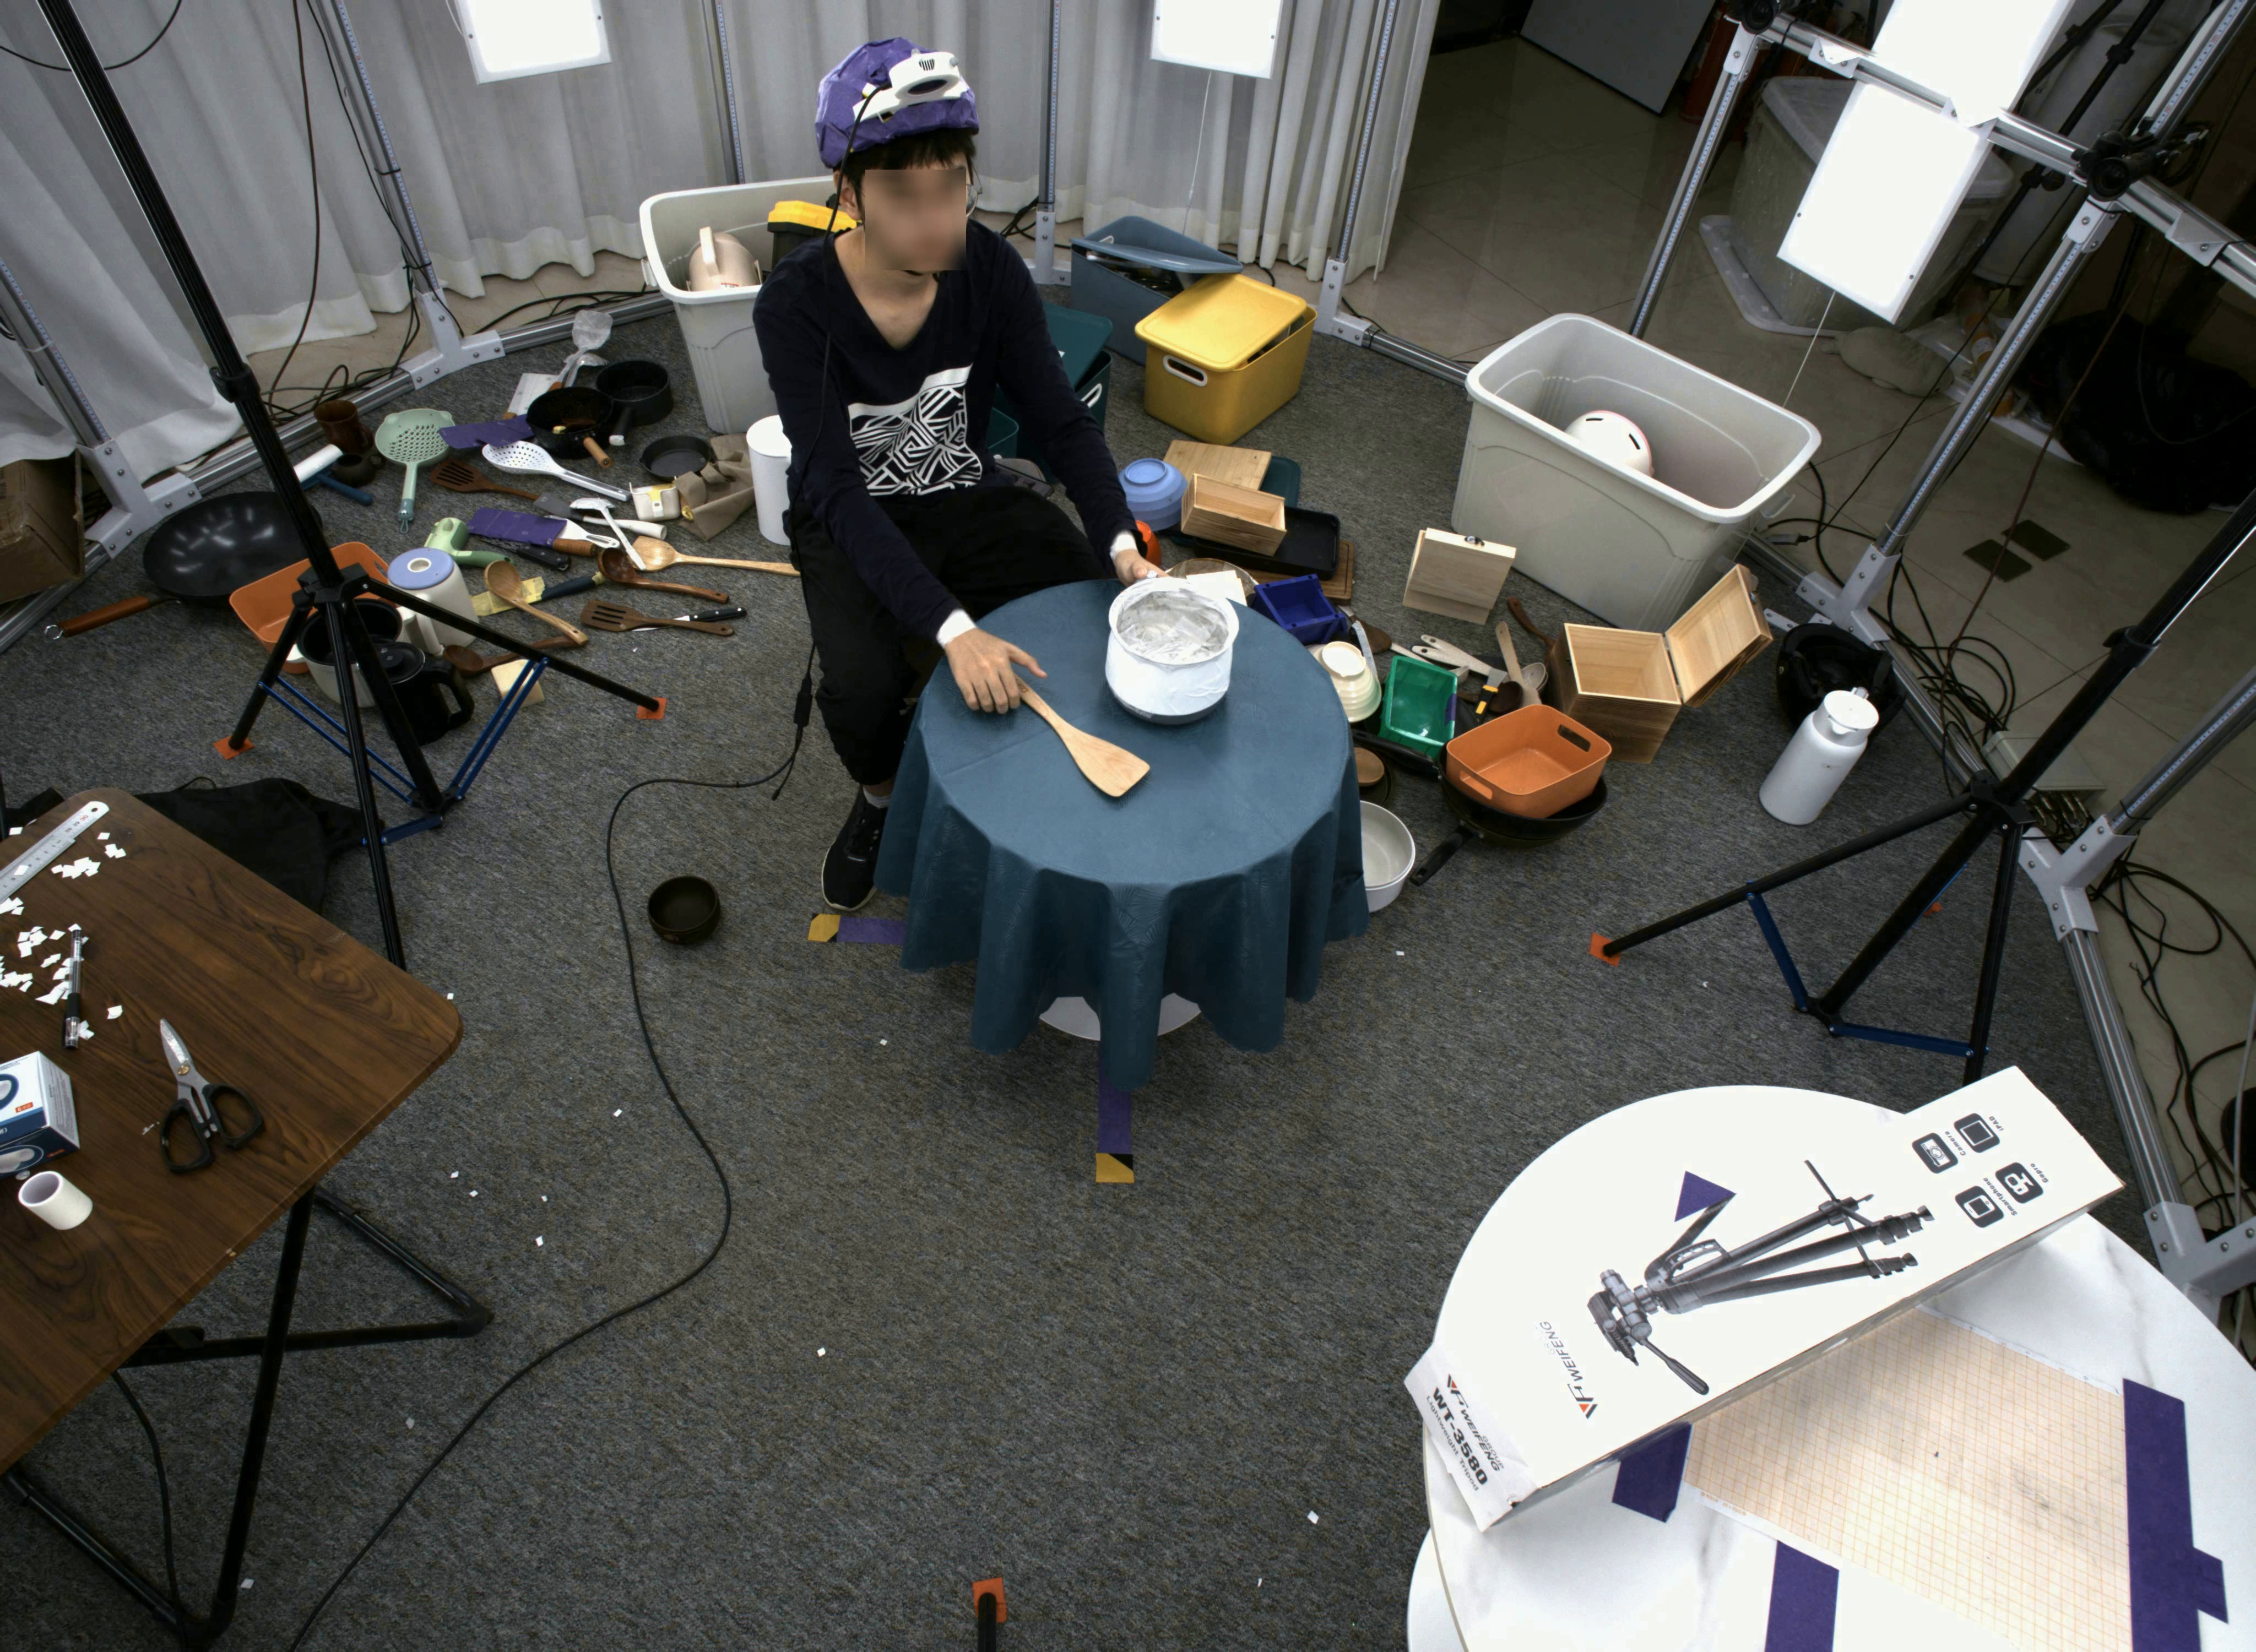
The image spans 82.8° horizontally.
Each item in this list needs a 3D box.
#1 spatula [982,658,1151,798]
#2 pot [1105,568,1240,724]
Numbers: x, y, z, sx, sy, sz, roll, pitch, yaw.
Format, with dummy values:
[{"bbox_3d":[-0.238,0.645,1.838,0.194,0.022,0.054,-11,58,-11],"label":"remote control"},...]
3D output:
[{"bbox_3d":[-0.095,-0.146,1.777,0.080,0.016,0.333,-31,57,-28],"label":"spatula"},{"bbox_3d":[0.049,-0.262,1.805,0.178,0.133,0.239,-12,53,-16],"label":"pot"}]
